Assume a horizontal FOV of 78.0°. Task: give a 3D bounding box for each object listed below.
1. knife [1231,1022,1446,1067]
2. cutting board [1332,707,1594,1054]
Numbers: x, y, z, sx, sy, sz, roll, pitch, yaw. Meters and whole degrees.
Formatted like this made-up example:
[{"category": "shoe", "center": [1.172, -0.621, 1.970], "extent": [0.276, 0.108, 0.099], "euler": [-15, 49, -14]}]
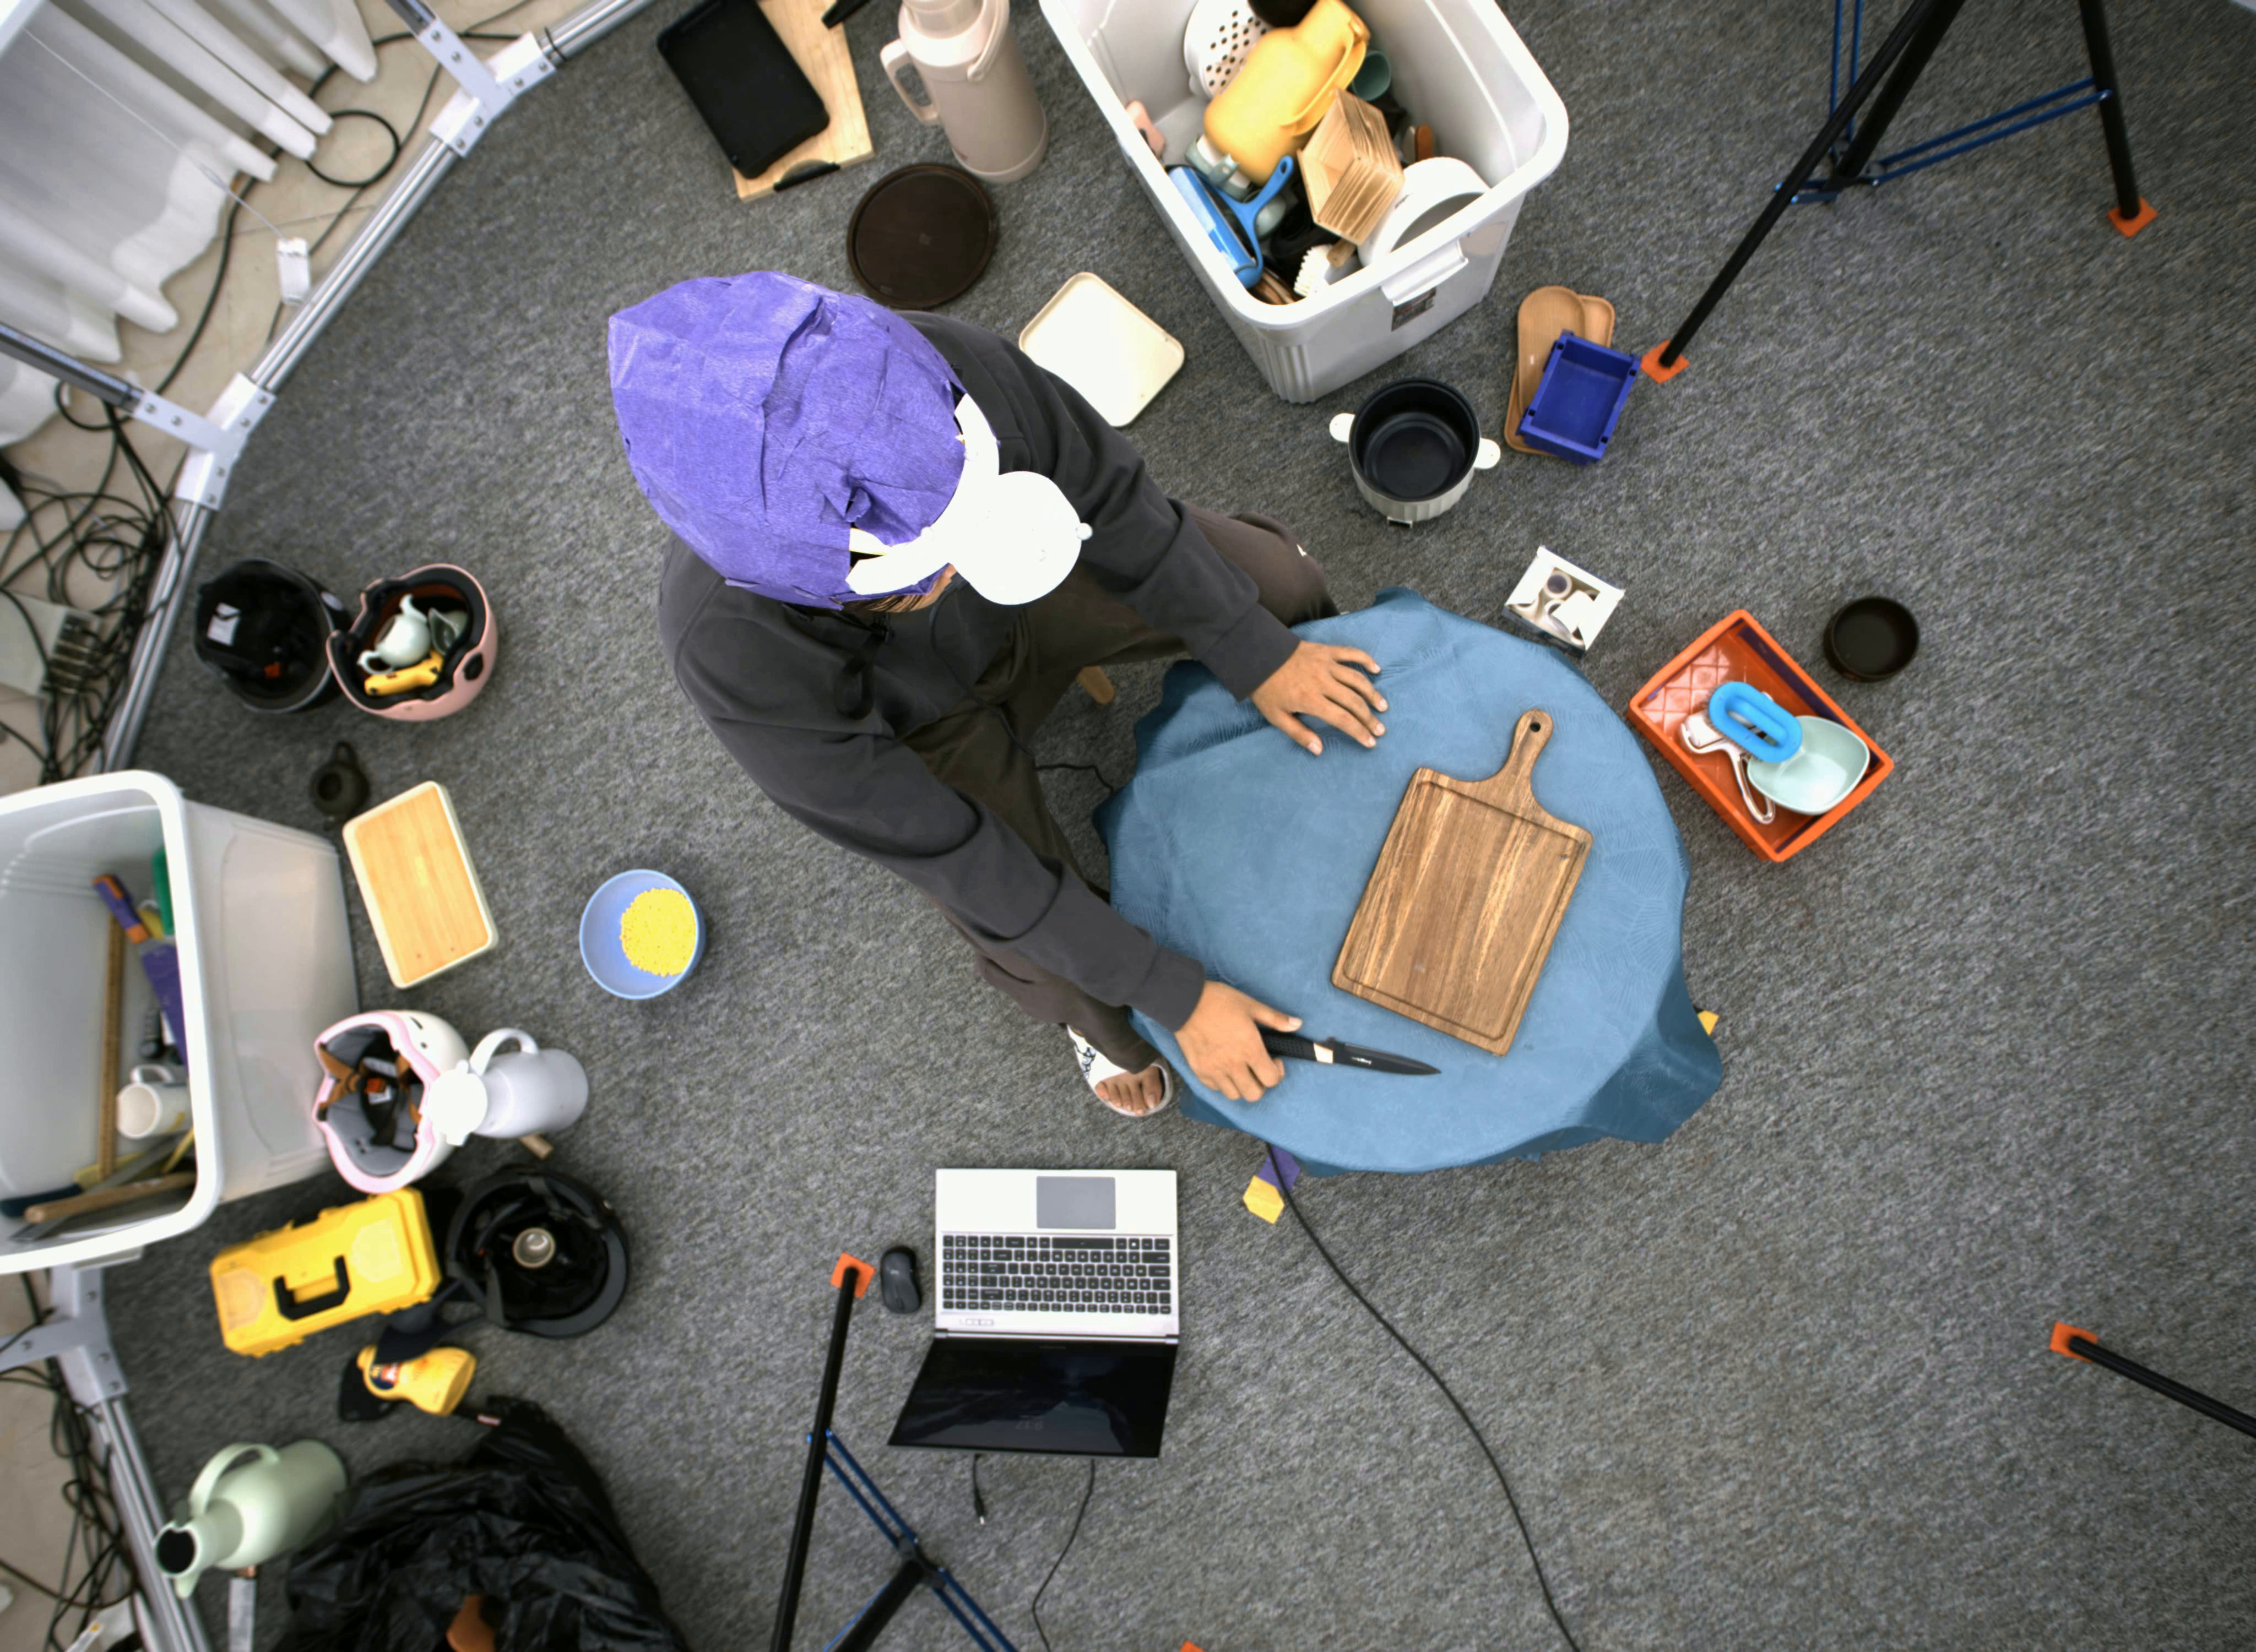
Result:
[{"category": "knife", "center": [0.220, 0.232, 1.456], "extent": [0.226, 0.017, 0.026], "euler": [9, 81, 11]}, {"category": "cutting board", "center": [0.366, 0.039, 1.434], "extent": [0.201, 0.023, 0.352], "euler": [22, 91, 11]}]
